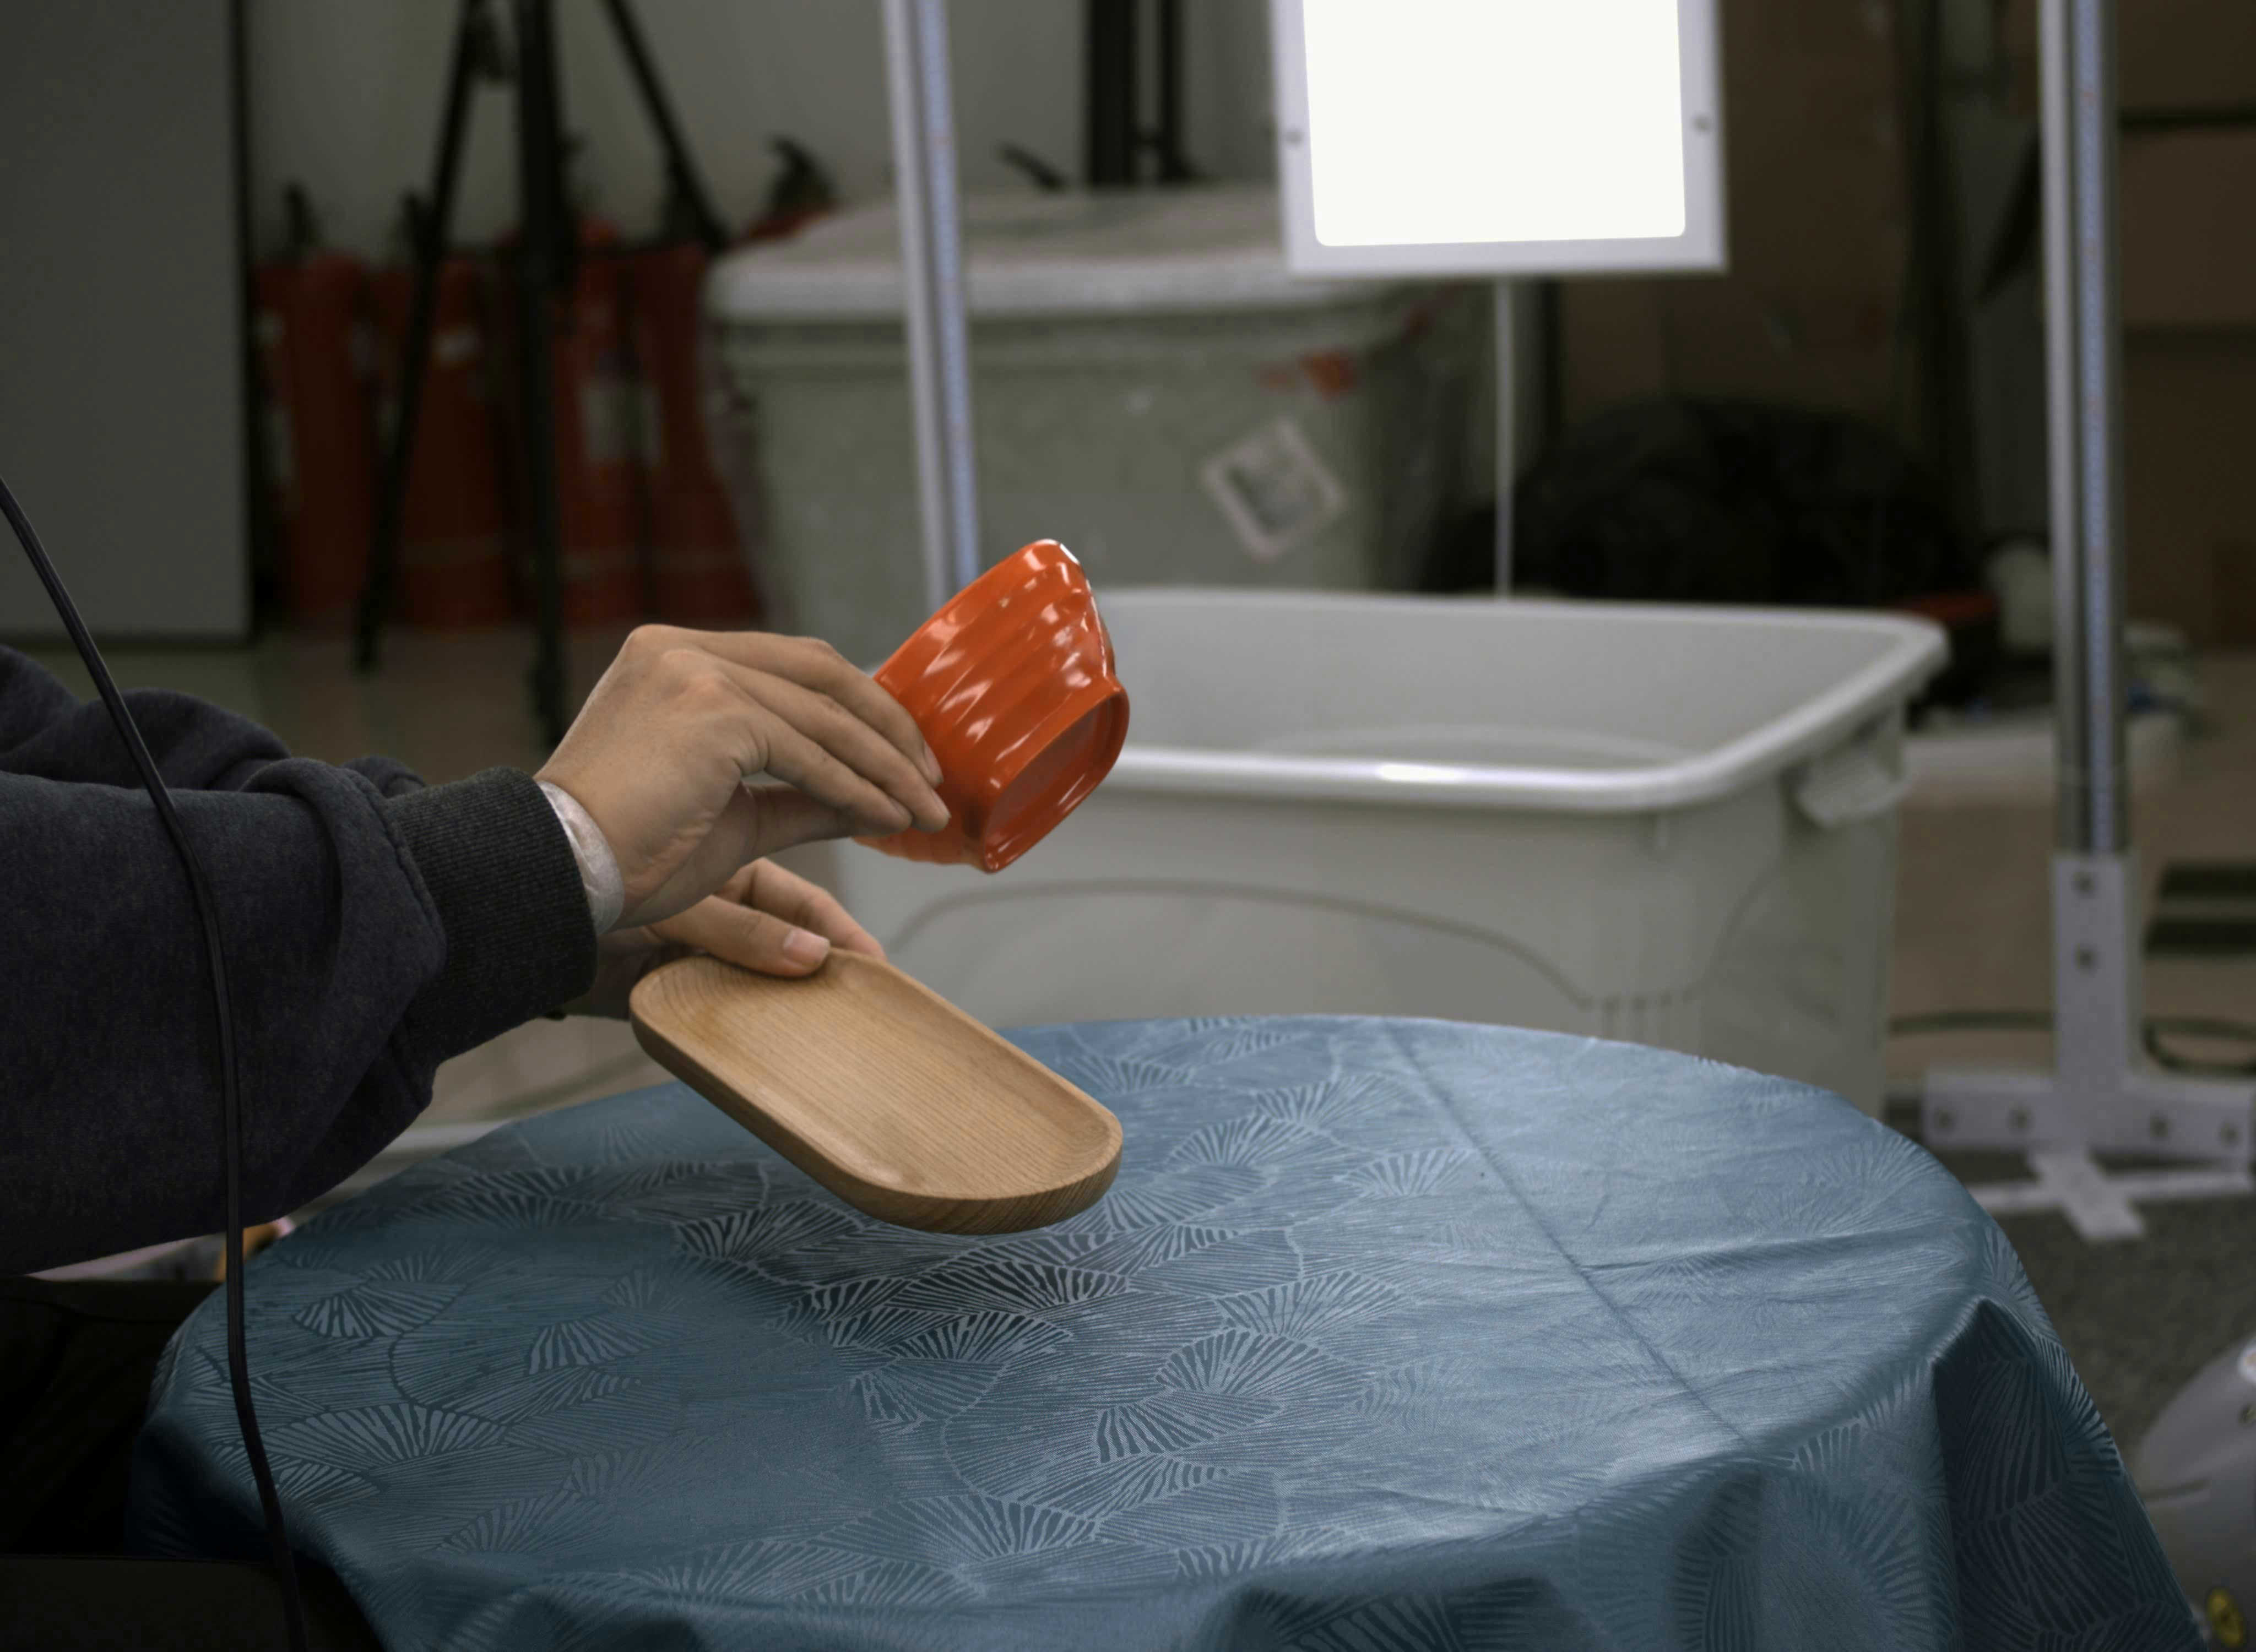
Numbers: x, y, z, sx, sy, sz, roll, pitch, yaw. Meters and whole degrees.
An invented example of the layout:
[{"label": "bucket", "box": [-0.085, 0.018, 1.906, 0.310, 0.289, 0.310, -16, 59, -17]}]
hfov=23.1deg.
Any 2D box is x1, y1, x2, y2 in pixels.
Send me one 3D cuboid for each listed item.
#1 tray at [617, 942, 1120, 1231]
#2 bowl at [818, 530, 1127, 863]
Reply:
[{"label": "tray", "box": [-0.089, 0.085, 1.847, 0.099, 0.020, 0.235, -12, 23, -31]}, {"label": "bowl", "box": [-0.042, -0.032, 1.733, 0.052, 0.121, 0.116, 44, 34, 16]}]
